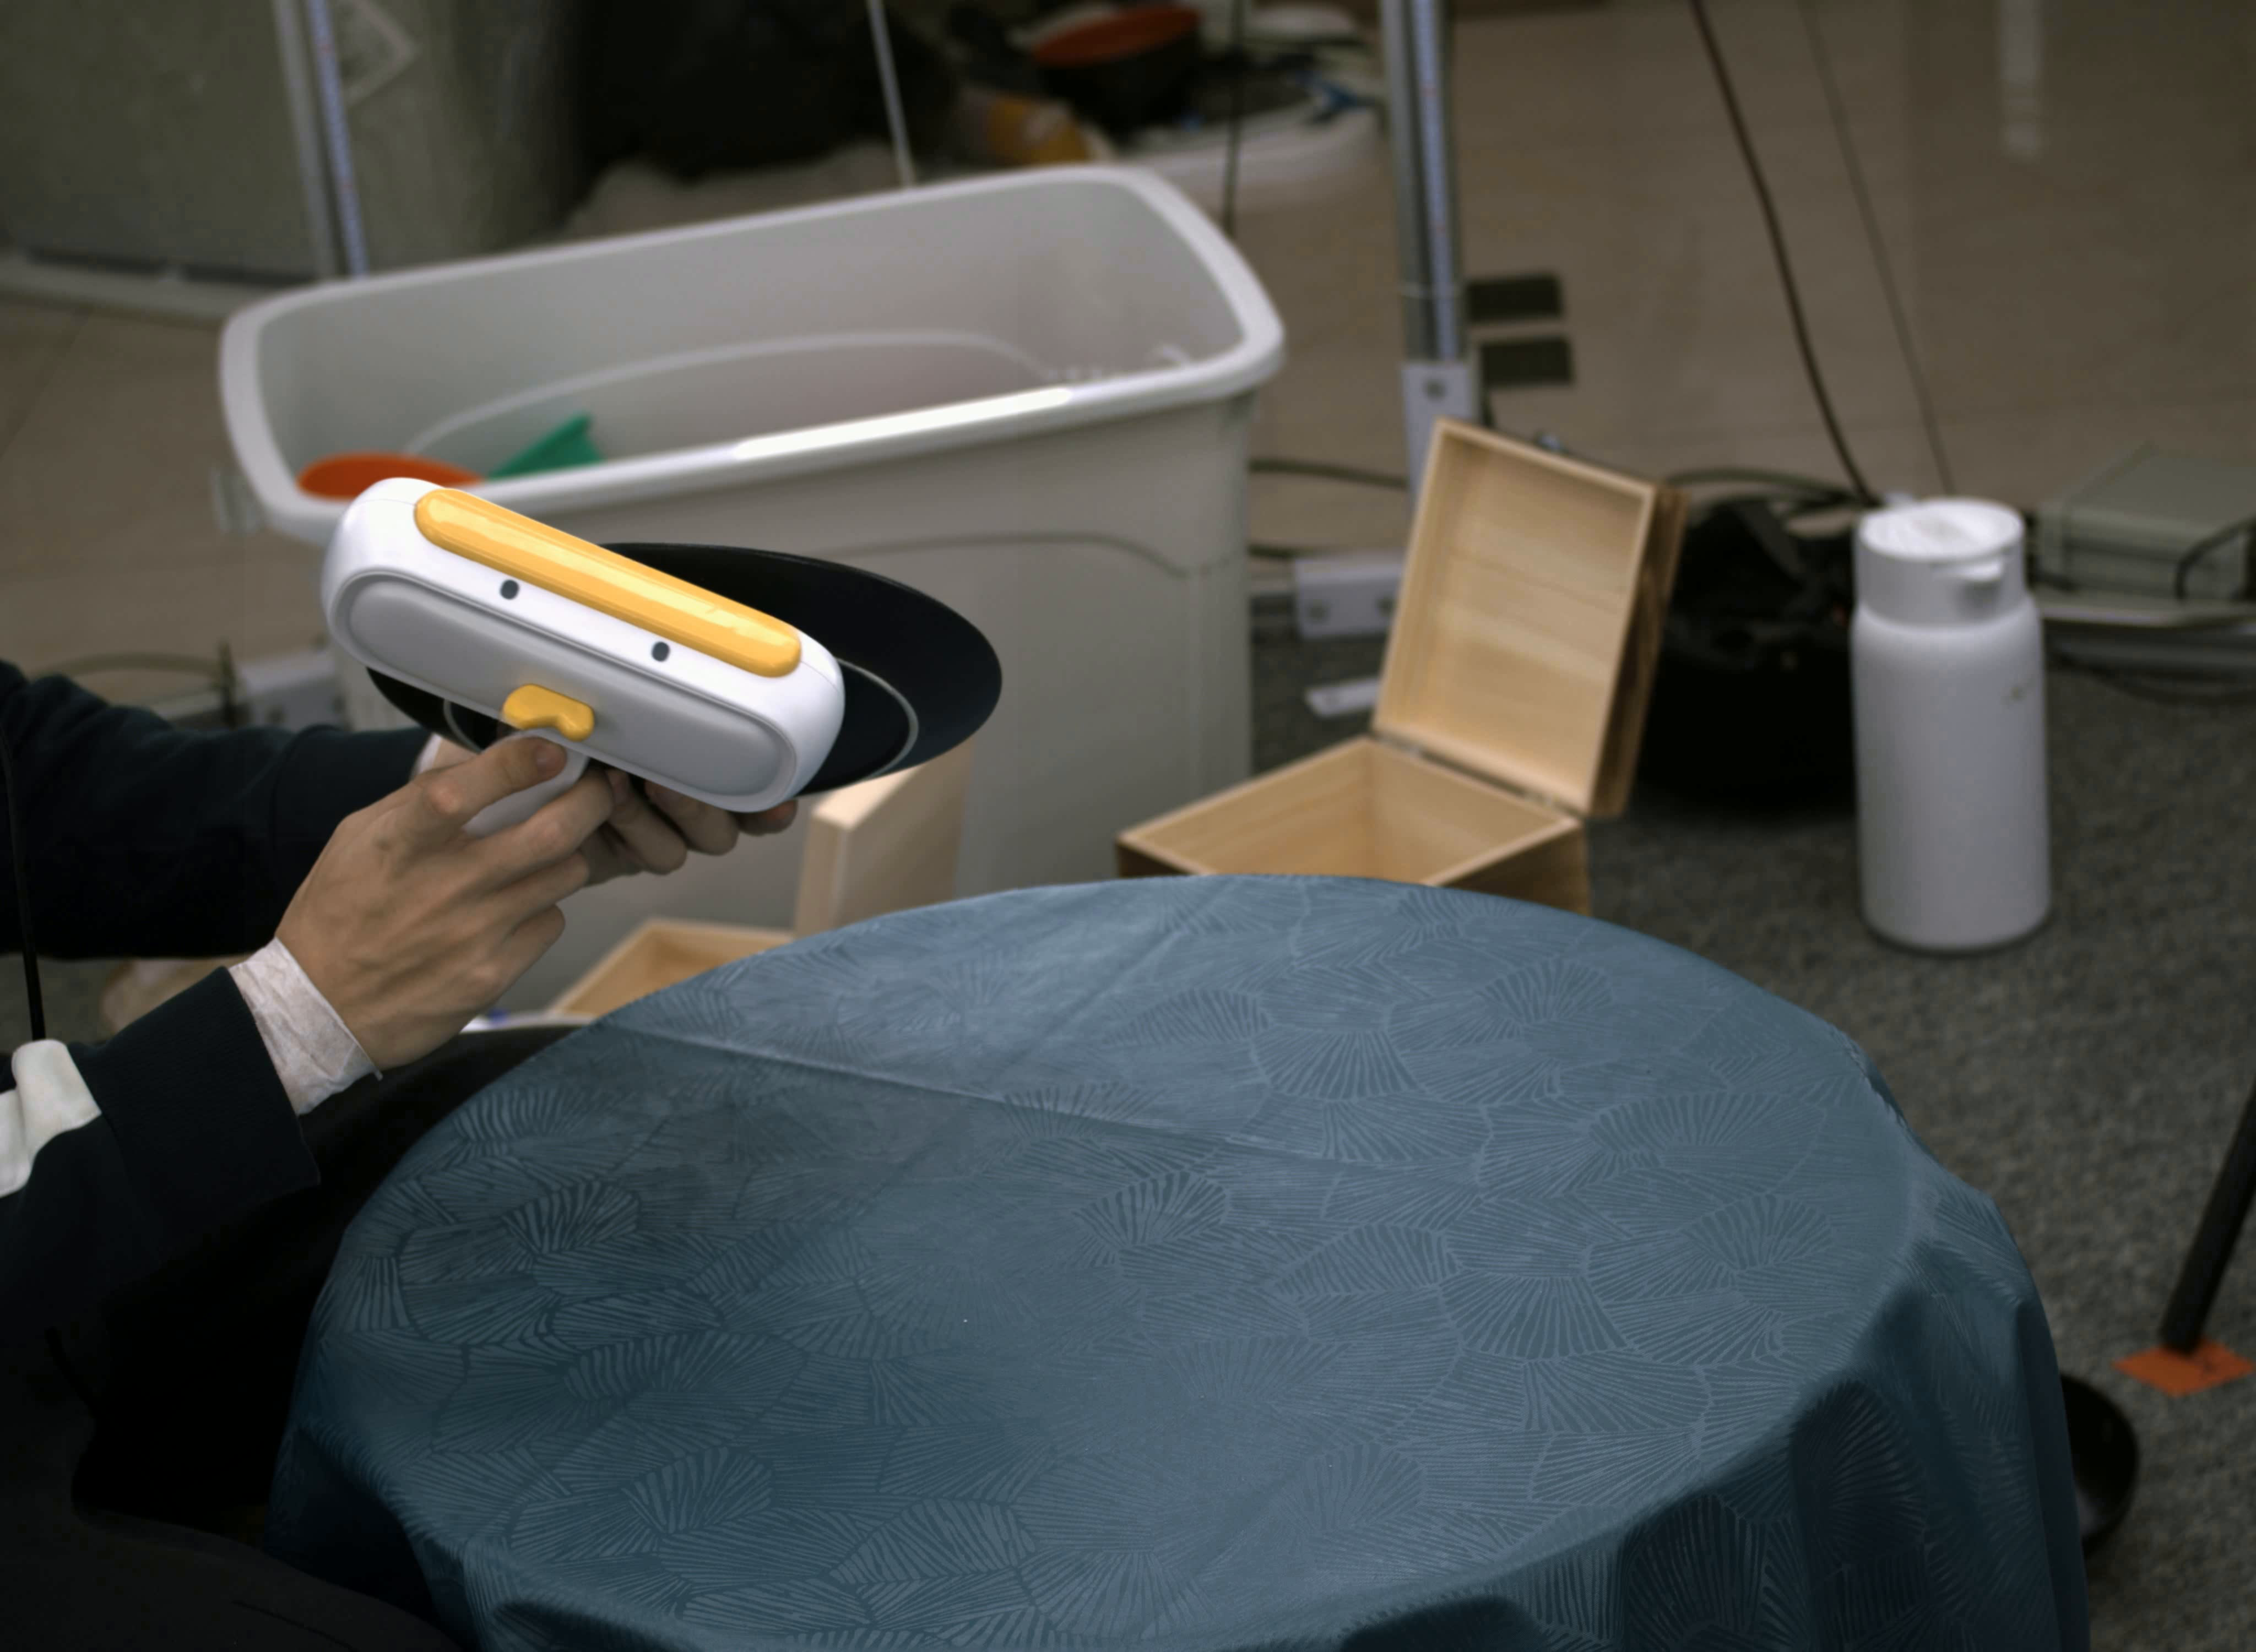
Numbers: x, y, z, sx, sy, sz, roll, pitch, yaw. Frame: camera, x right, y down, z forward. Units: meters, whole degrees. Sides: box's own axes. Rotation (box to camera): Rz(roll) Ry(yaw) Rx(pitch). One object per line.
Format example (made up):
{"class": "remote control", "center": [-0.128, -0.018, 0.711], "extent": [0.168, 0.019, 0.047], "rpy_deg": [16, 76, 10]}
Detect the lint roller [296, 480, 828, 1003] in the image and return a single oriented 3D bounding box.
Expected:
{"class": "lint roller", "center": [-0.219, -0.021, 2.048], "extent": [0.193, 0.196, 0.073], "rpy_deg": [16, 41, -9]}

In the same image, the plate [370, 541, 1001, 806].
{"class": "plate", "center": [-0.169, -0.051, 2.141], "extent": [0.244, 0.247, 0.023], "rpy_deg": [1, 69, 0]}
